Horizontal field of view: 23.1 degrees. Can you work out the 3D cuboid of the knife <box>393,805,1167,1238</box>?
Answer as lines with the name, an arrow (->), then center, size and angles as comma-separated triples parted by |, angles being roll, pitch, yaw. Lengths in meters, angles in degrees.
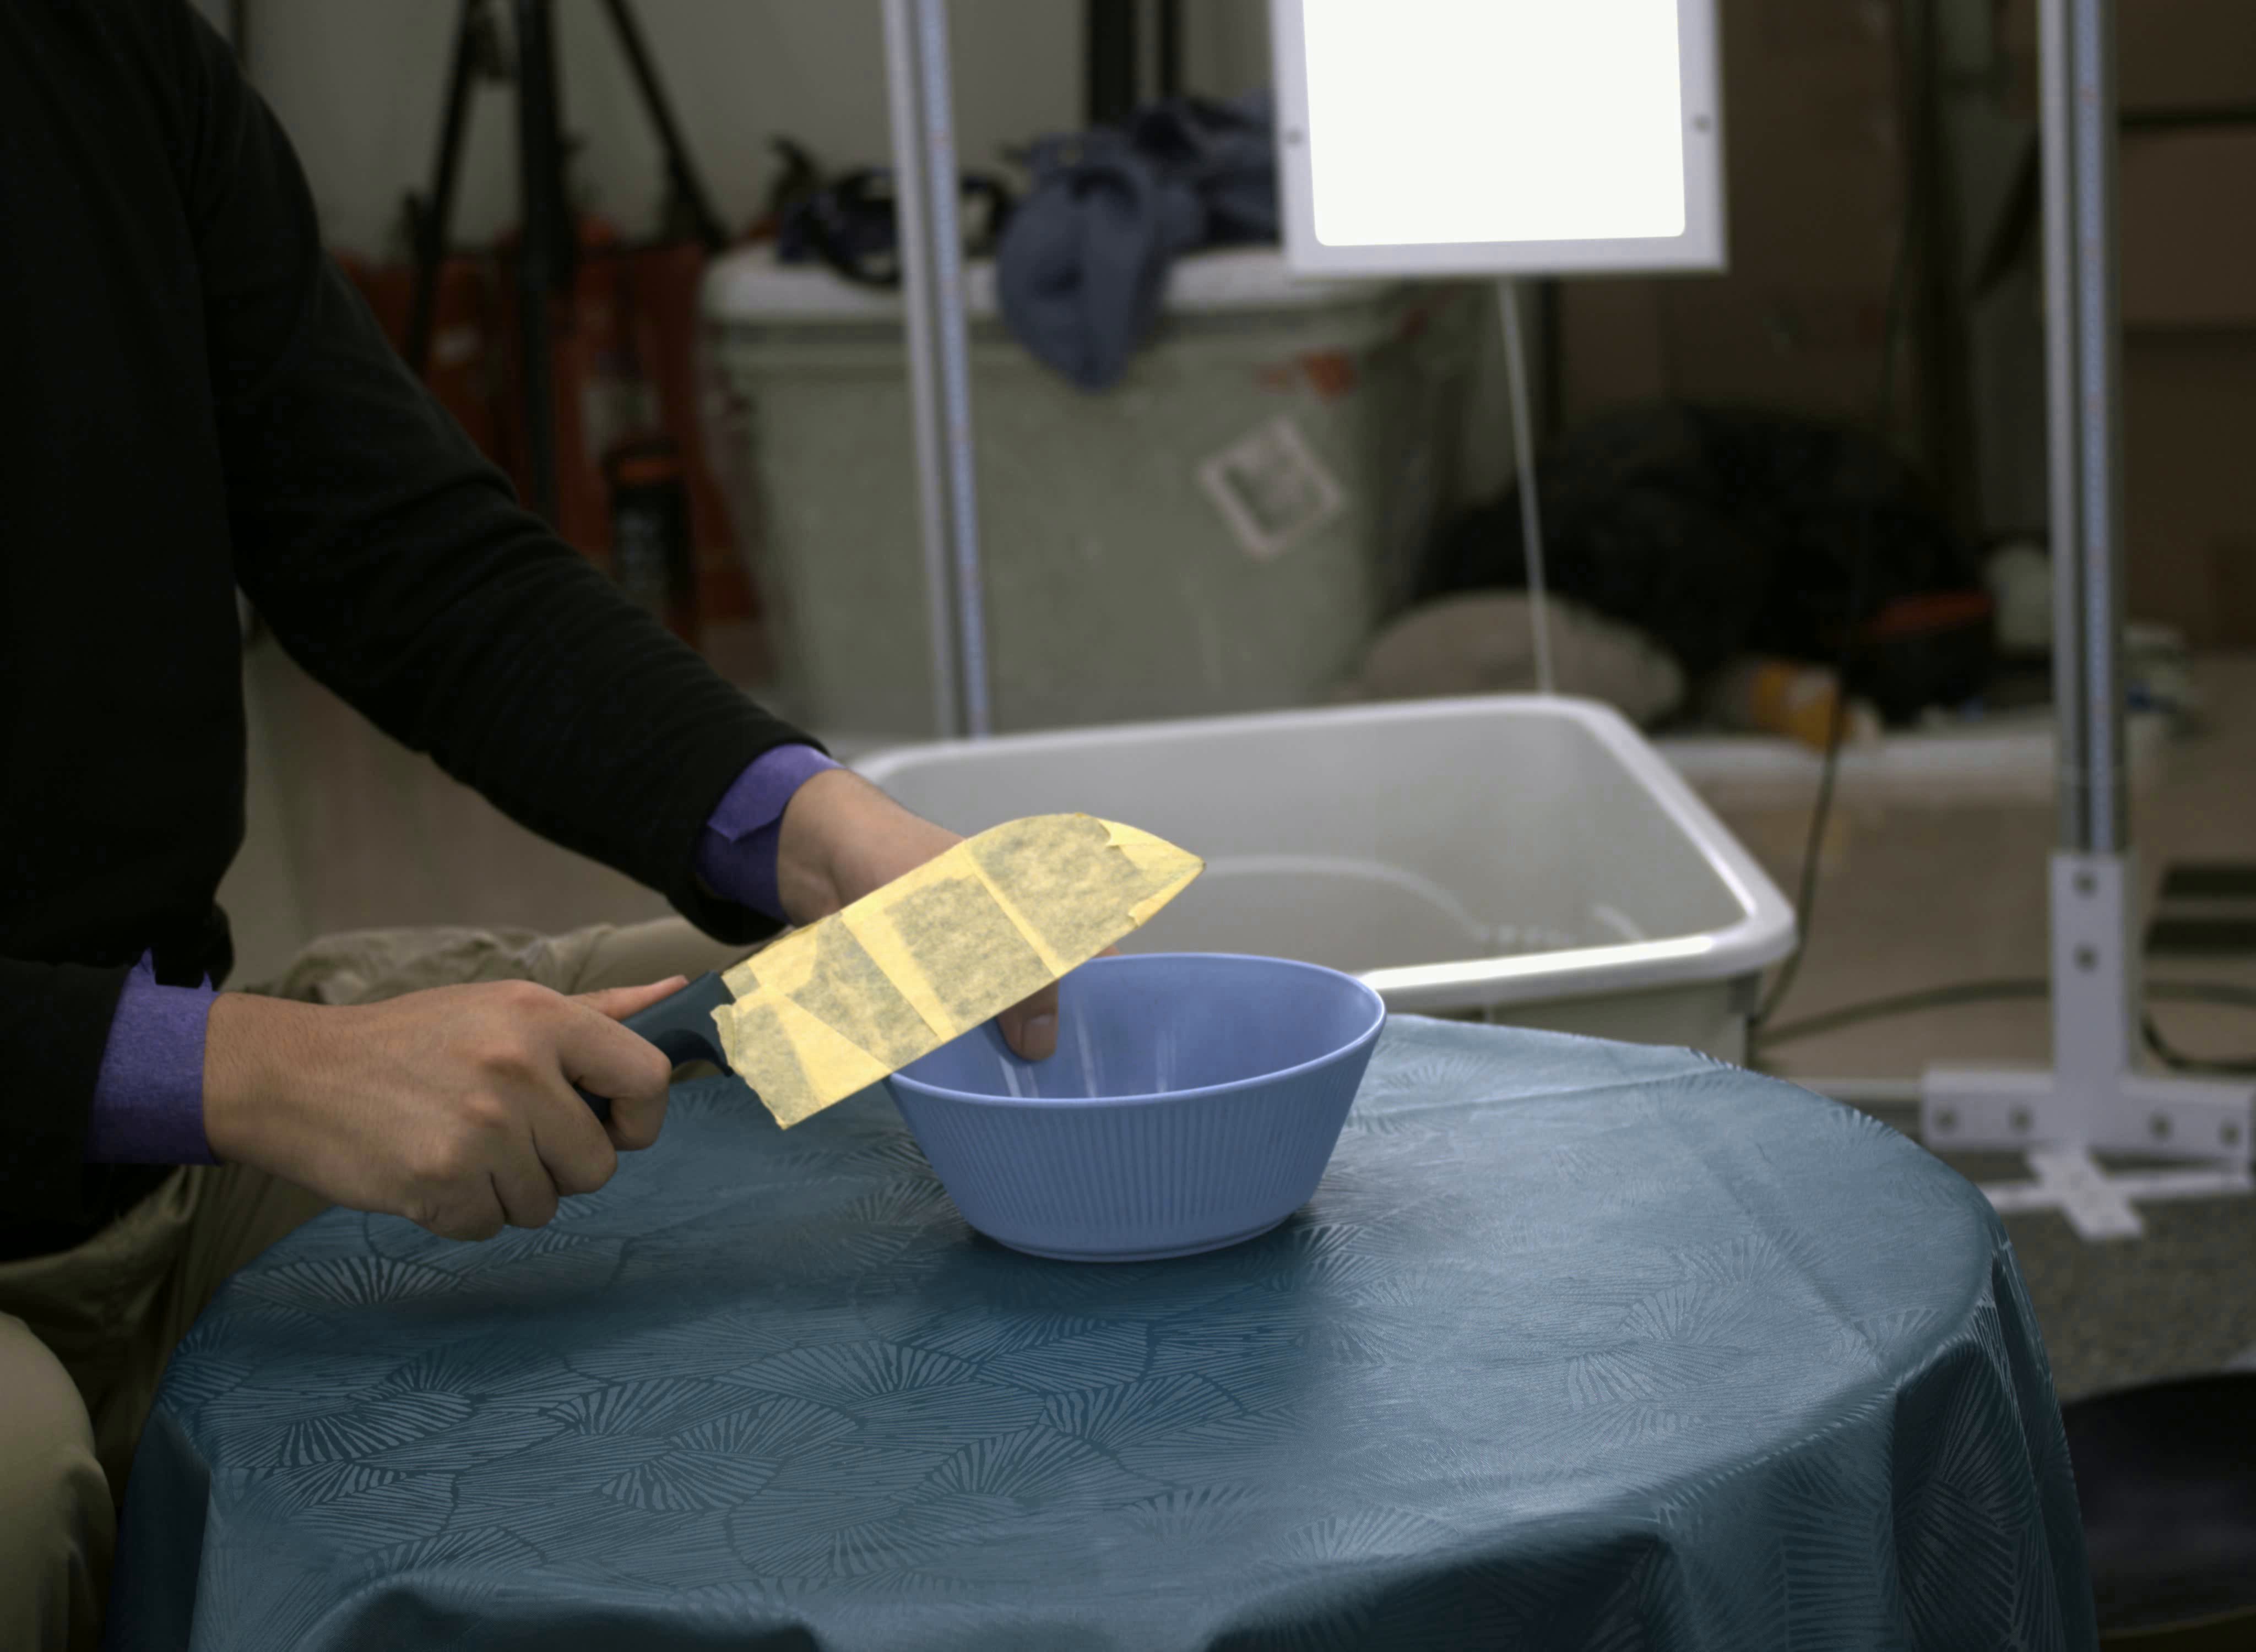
knife -> -0.113, 0.068, 1.851 | 0.287, 0.027, 0.082 | -28, 47, -8

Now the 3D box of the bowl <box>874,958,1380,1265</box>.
bowl -> 0.001, 0.099, 1.867 | 0.175, 0.070, 0.176 | -5, 14, 0
